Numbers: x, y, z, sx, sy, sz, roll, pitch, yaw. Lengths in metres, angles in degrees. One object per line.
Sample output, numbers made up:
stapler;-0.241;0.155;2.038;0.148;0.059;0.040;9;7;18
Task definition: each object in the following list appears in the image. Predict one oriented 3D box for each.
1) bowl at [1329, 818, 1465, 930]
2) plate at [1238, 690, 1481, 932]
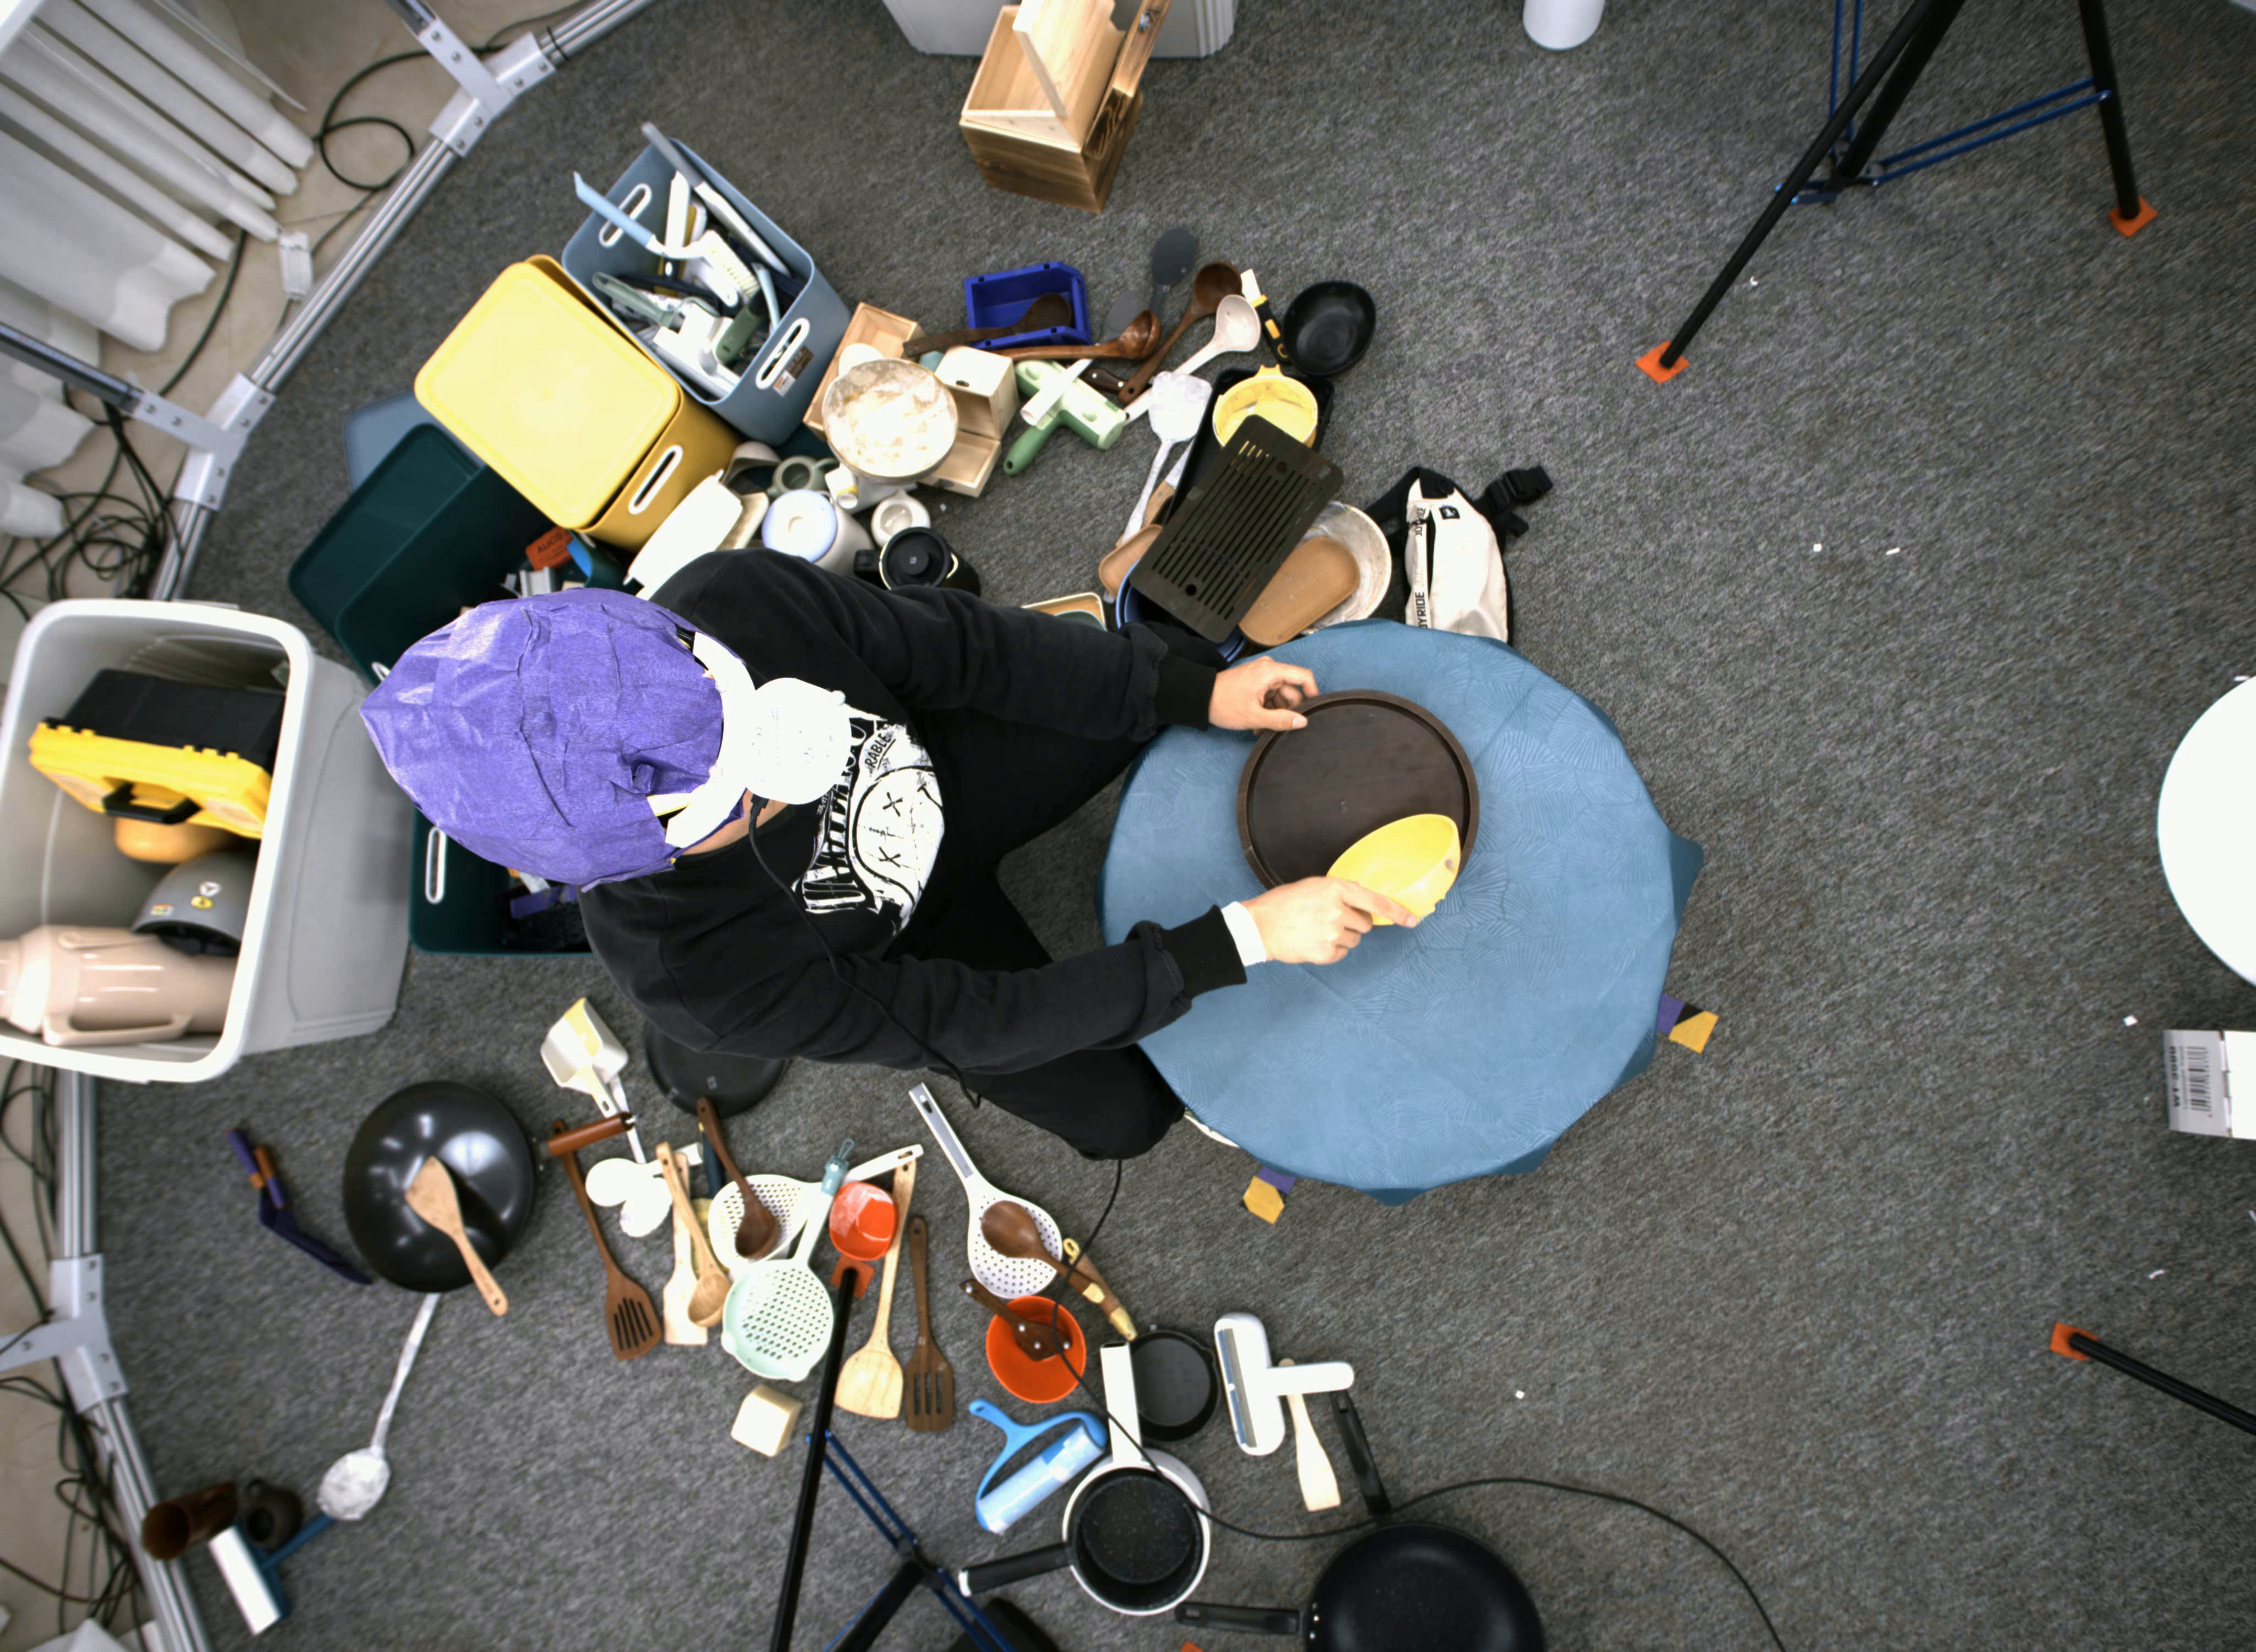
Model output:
bowl;0.275;0.057;1.356;0.146;0.143;0.061;-34;110;5
plate;0.242;-0.016;1.448;0.255;0.029;0.256;1;96;9
